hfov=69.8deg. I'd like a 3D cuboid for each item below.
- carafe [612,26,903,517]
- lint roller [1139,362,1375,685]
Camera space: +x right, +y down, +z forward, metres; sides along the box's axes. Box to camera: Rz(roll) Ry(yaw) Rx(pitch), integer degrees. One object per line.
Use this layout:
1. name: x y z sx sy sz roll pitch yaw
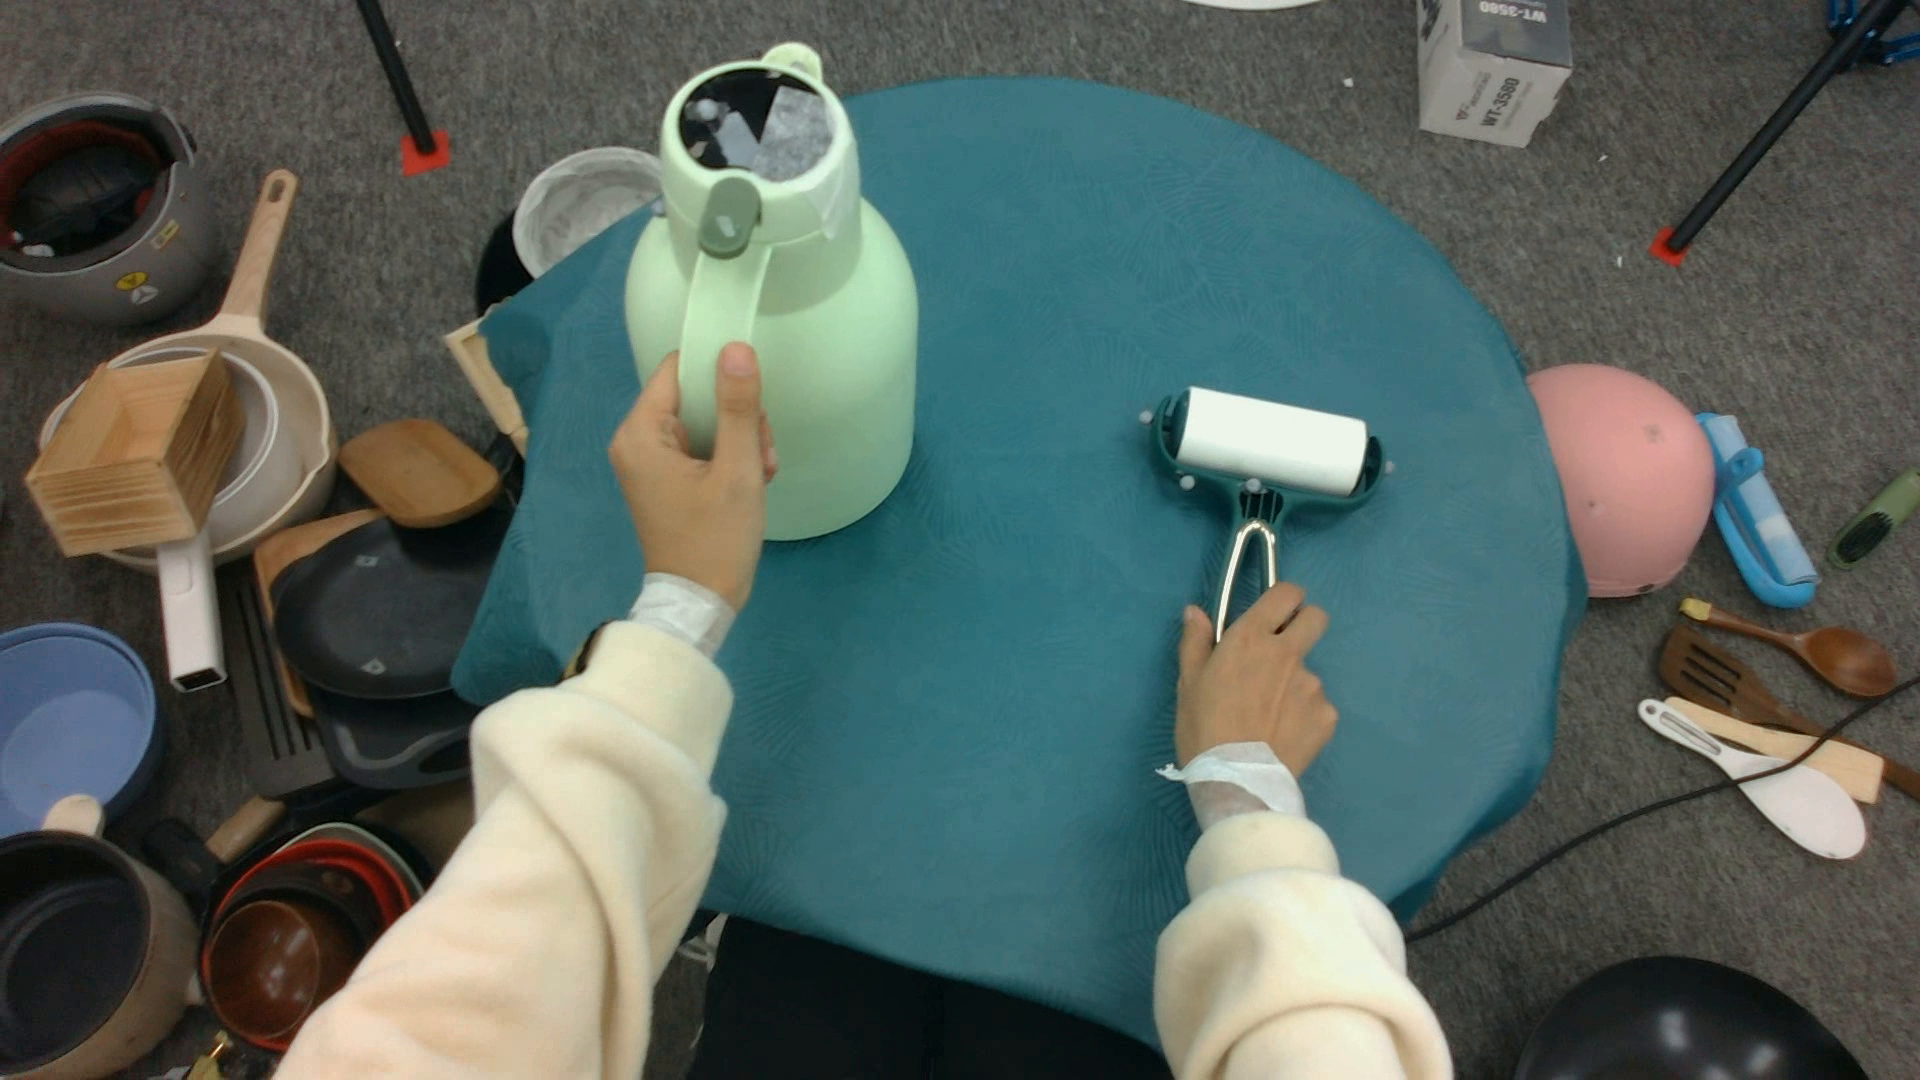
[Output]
1. carafe: -0.101 -0.111 0.669 0.144 0.256 0.187 12 67 -1
2. lint roller: 0.155 -0.010 0.751 0.134 0.048 0.181 12 59 1
